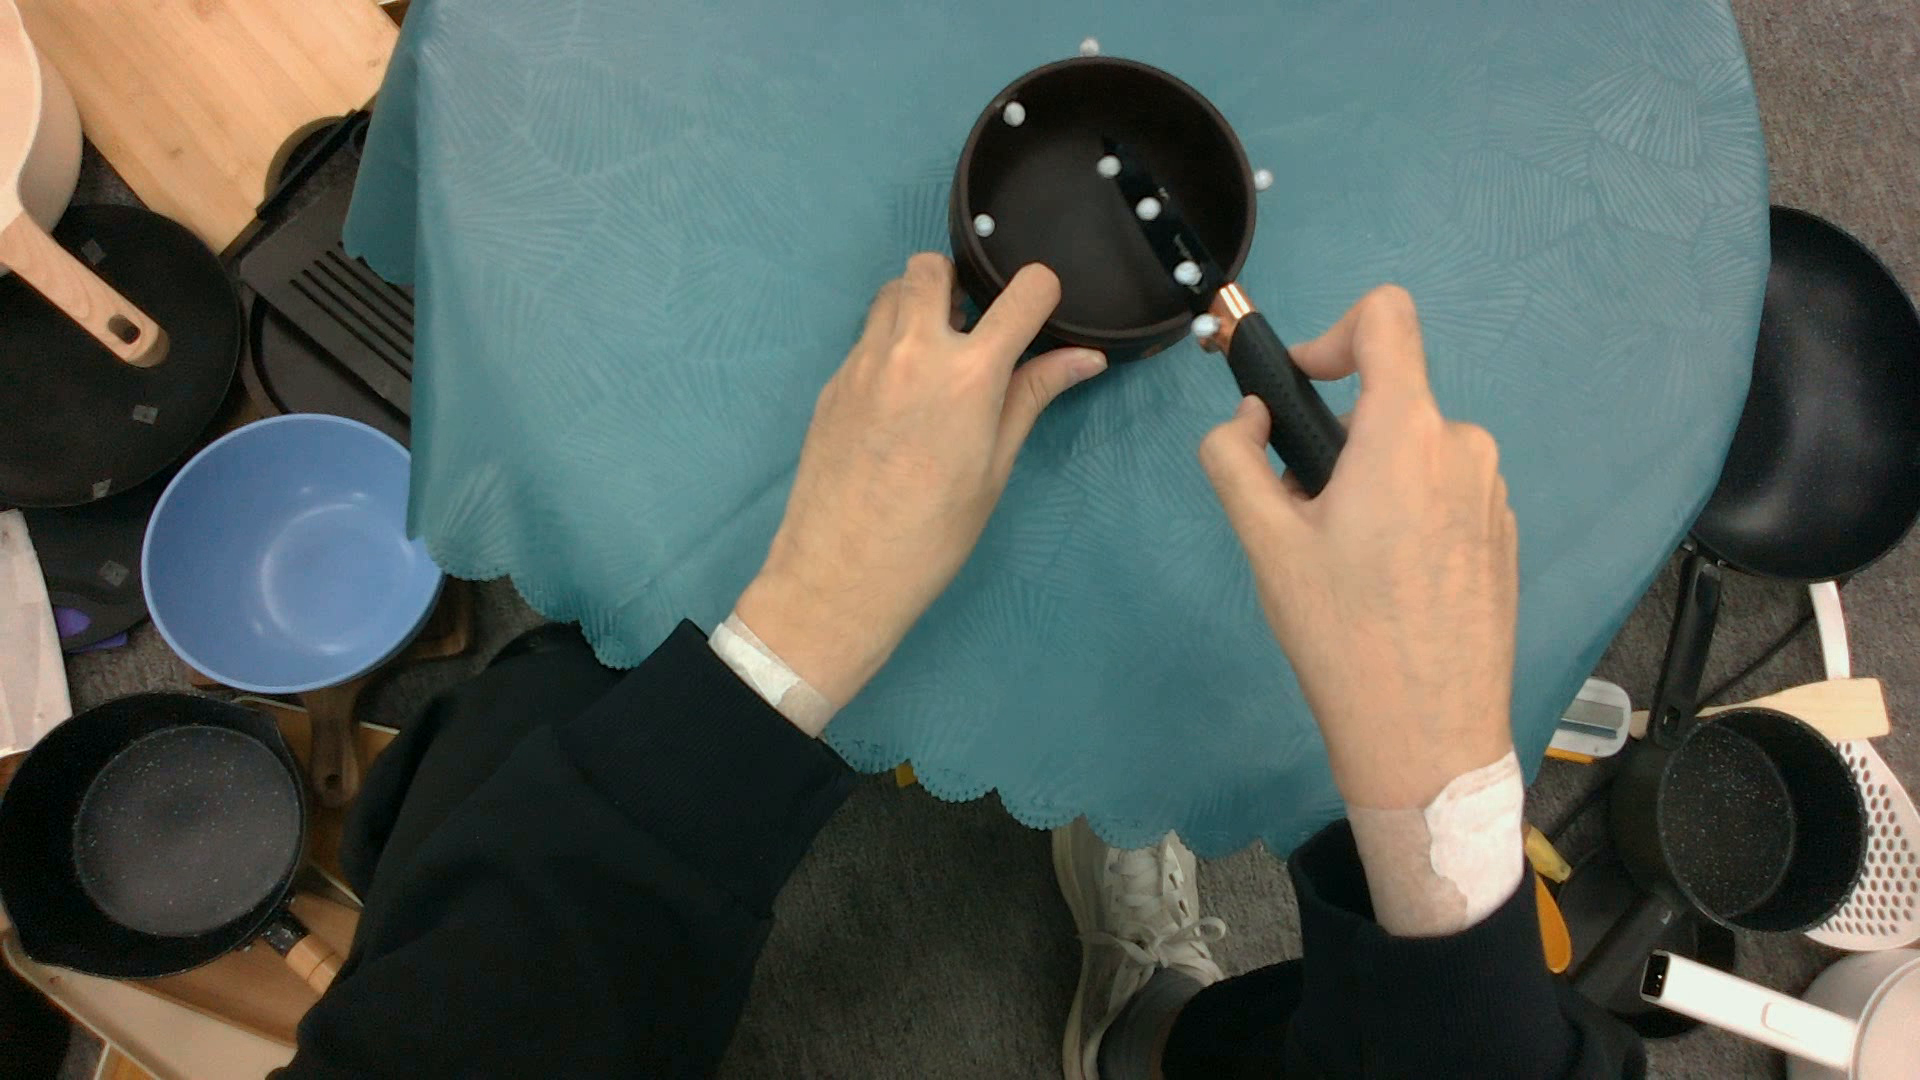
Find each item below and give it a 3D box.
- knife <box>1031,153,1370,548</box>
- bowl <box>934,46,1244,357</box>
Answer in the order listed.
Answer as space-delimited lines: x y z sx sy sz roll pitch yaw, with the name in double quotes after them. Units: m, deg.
0.077 -0.079 0.487 0.026 0.017 0.226 -34 52 9 "knife"
0.047 -0.128 0.550 0.118 0.070 0.118 1 81 -6 "bowl"
